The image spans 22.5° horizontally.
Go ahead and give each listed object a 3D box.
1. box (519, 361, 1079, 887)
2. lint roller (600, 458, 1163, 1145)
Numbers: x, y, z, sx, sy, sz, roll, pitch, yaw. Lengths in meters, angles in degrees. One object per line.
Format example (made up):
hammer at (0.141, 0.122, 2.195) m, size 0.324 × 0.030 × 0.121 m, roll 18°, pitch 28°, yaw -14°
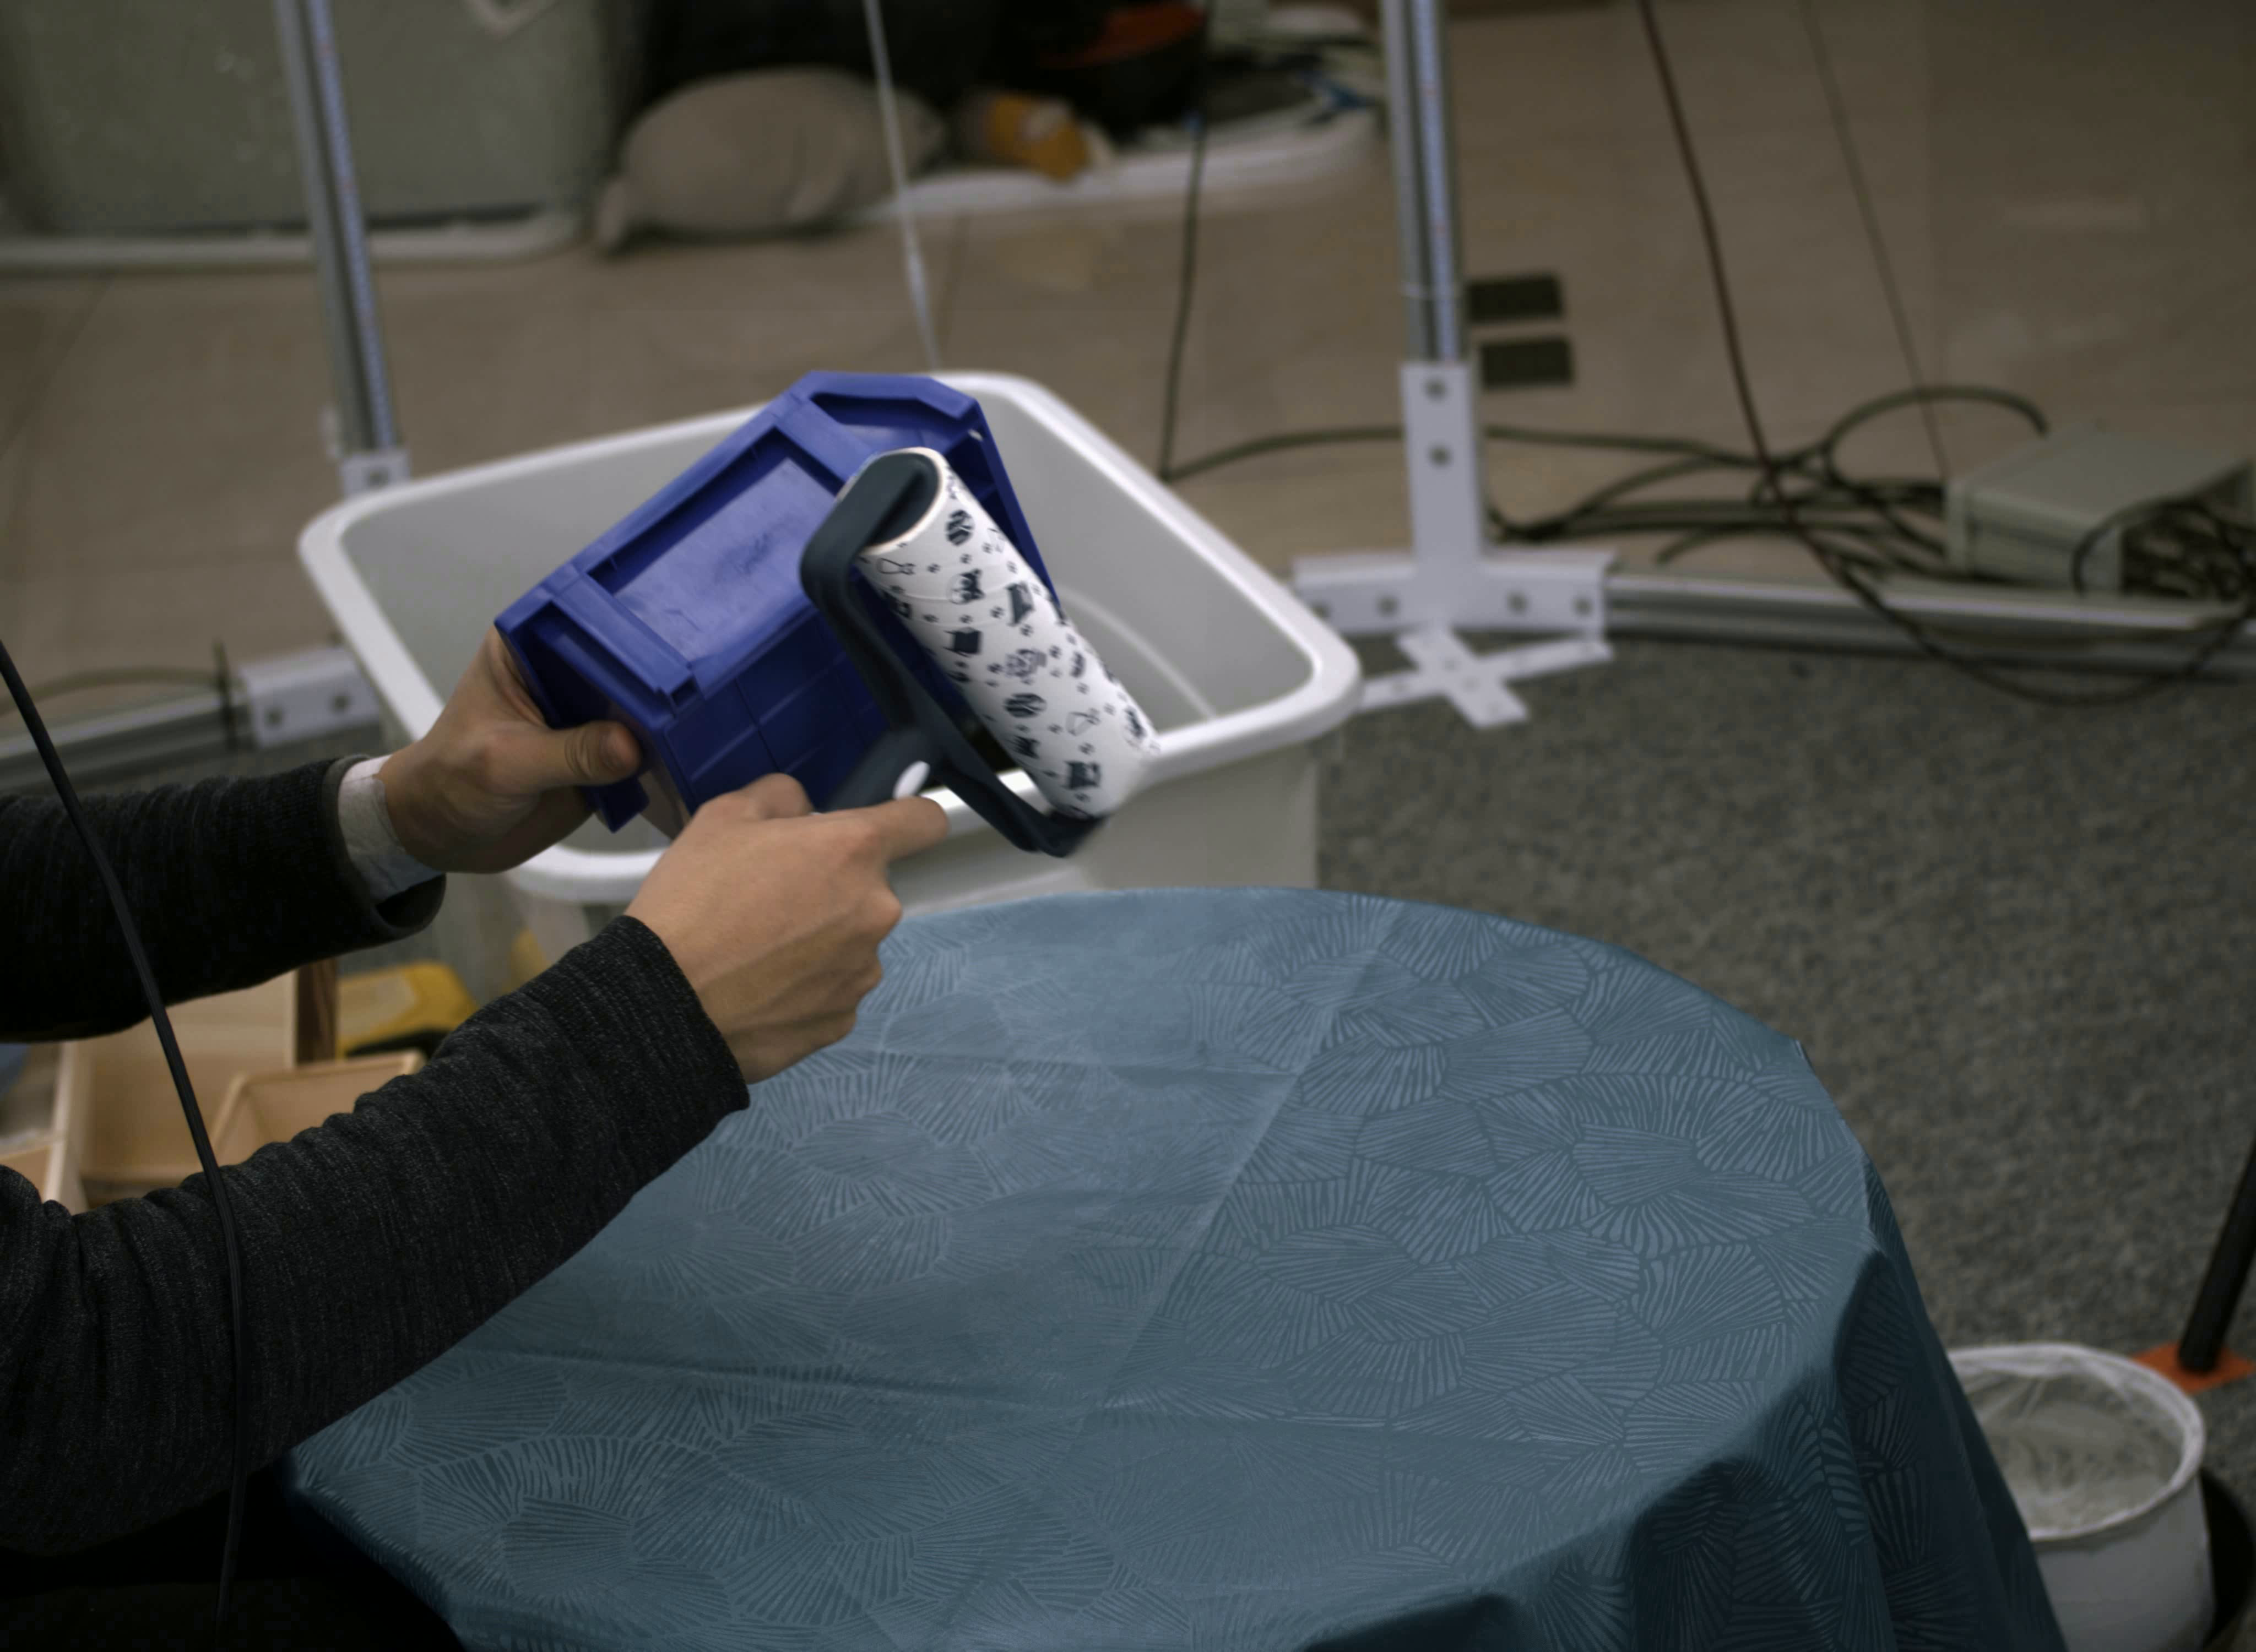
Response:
box at (-0.111, -0.075, 2.053) m, size 0.178 × 0.126 × 0.081 m, roll -41°, pitch 53°, yaw -13°
lint roller at (-0.099, 0.014, 1.983) m, size 0.050 × 0.179 × 0.245 m, roll 21°, pitch 69°, yaw 43°
